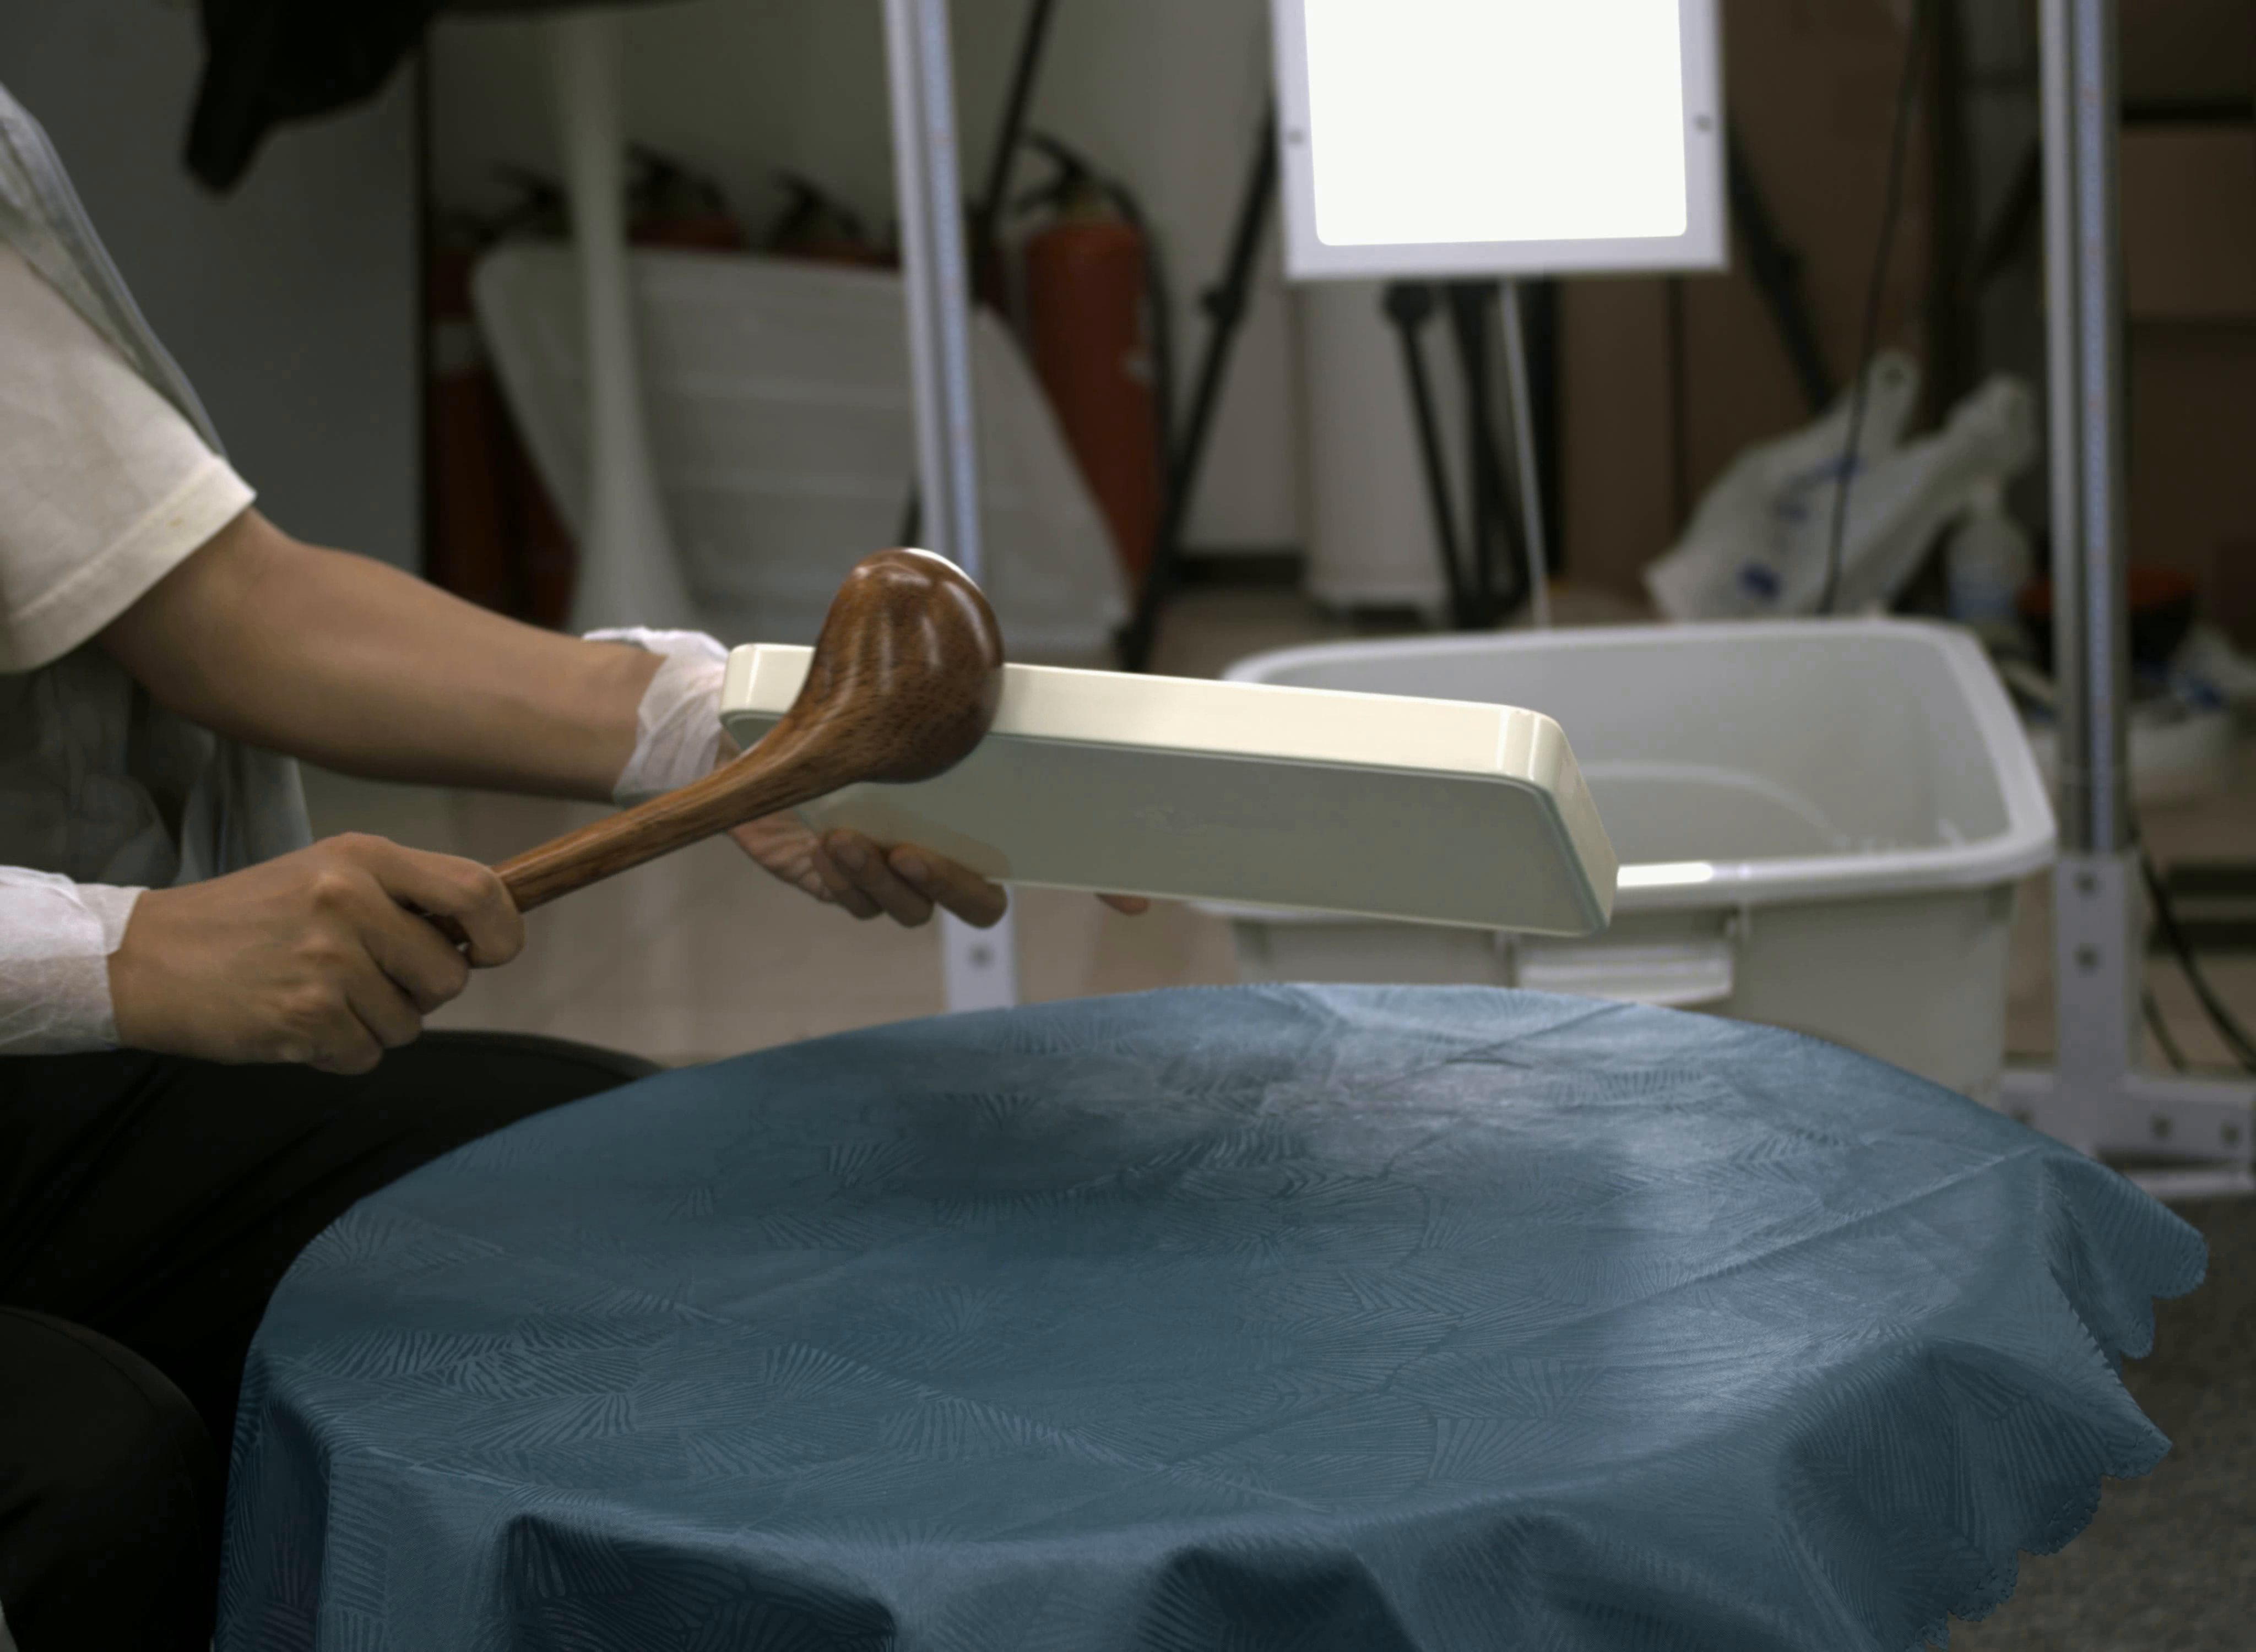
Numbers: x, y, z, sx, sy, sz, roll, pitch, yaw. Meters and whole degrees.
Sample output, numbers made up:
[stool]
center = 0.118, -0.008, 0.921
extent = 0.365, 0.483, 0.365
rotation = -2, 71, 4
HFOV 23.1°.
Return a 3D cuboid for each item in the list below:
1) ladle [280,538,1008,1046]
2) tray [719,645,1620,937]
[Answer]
[ladle]
center = -0.167, -0.010, 1.877
extent = 0.276, 0.081, 0.076
rotation = -26, 25, 10
[tray]
center = 0.018, -0.011, 1.967
extent = 0.303, 0.027, 0.190
rotation = 5, -17, 17
